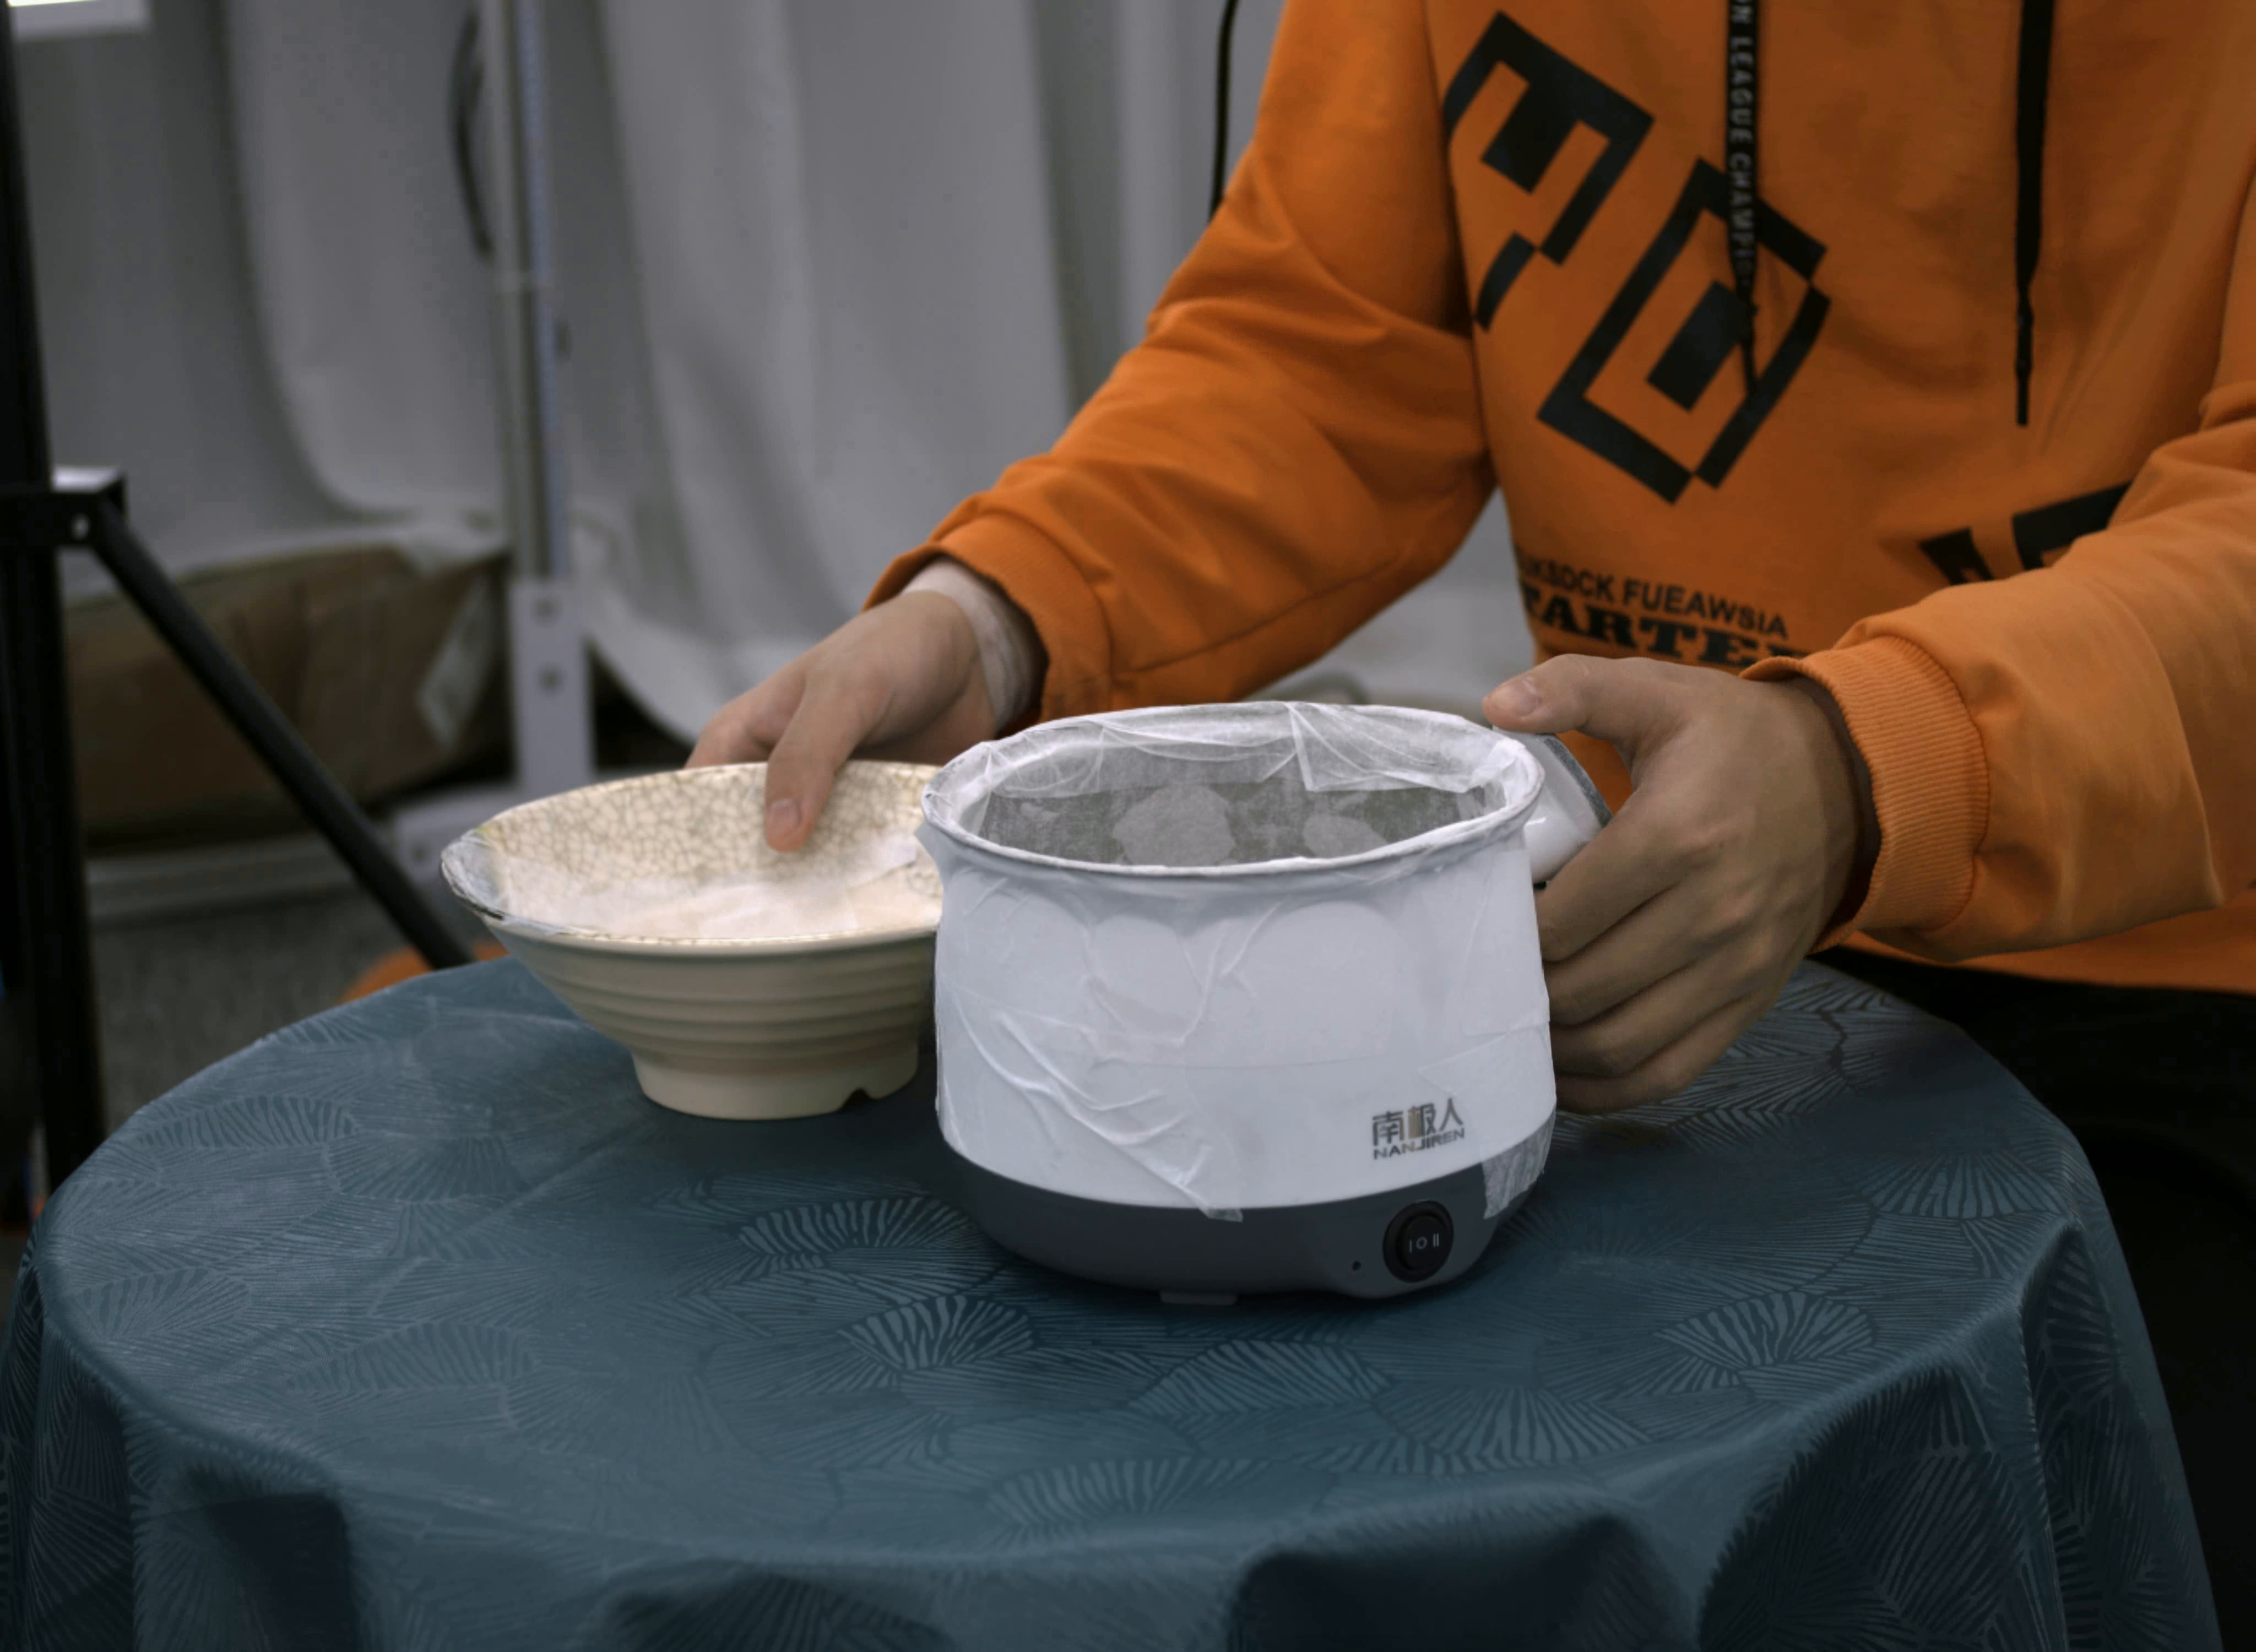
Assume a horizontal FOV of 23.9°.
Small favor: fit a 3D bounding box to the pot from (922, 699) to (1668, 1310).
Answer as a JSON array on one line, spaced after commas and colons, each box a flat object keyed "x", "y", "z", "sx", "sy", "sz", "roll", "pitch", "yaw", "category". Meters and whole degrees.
[{"x": 0.055, "y": 0.044, "z": 1.525, "sx": 0.228, "sy": 0.136, "sz": 0.183, "roll": -12, "pitch": 19, "yaw": -30, "category": "pot"}]

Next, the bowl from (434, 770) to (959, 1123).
[{"x": -0.114, "y": 0.044, "z": 1.668, "sx": 0.203, "sy": 0.078, "sz": 0.205, "roll": -2, "pitch": 14, "yaw": -1, "category": "bowl"}]
